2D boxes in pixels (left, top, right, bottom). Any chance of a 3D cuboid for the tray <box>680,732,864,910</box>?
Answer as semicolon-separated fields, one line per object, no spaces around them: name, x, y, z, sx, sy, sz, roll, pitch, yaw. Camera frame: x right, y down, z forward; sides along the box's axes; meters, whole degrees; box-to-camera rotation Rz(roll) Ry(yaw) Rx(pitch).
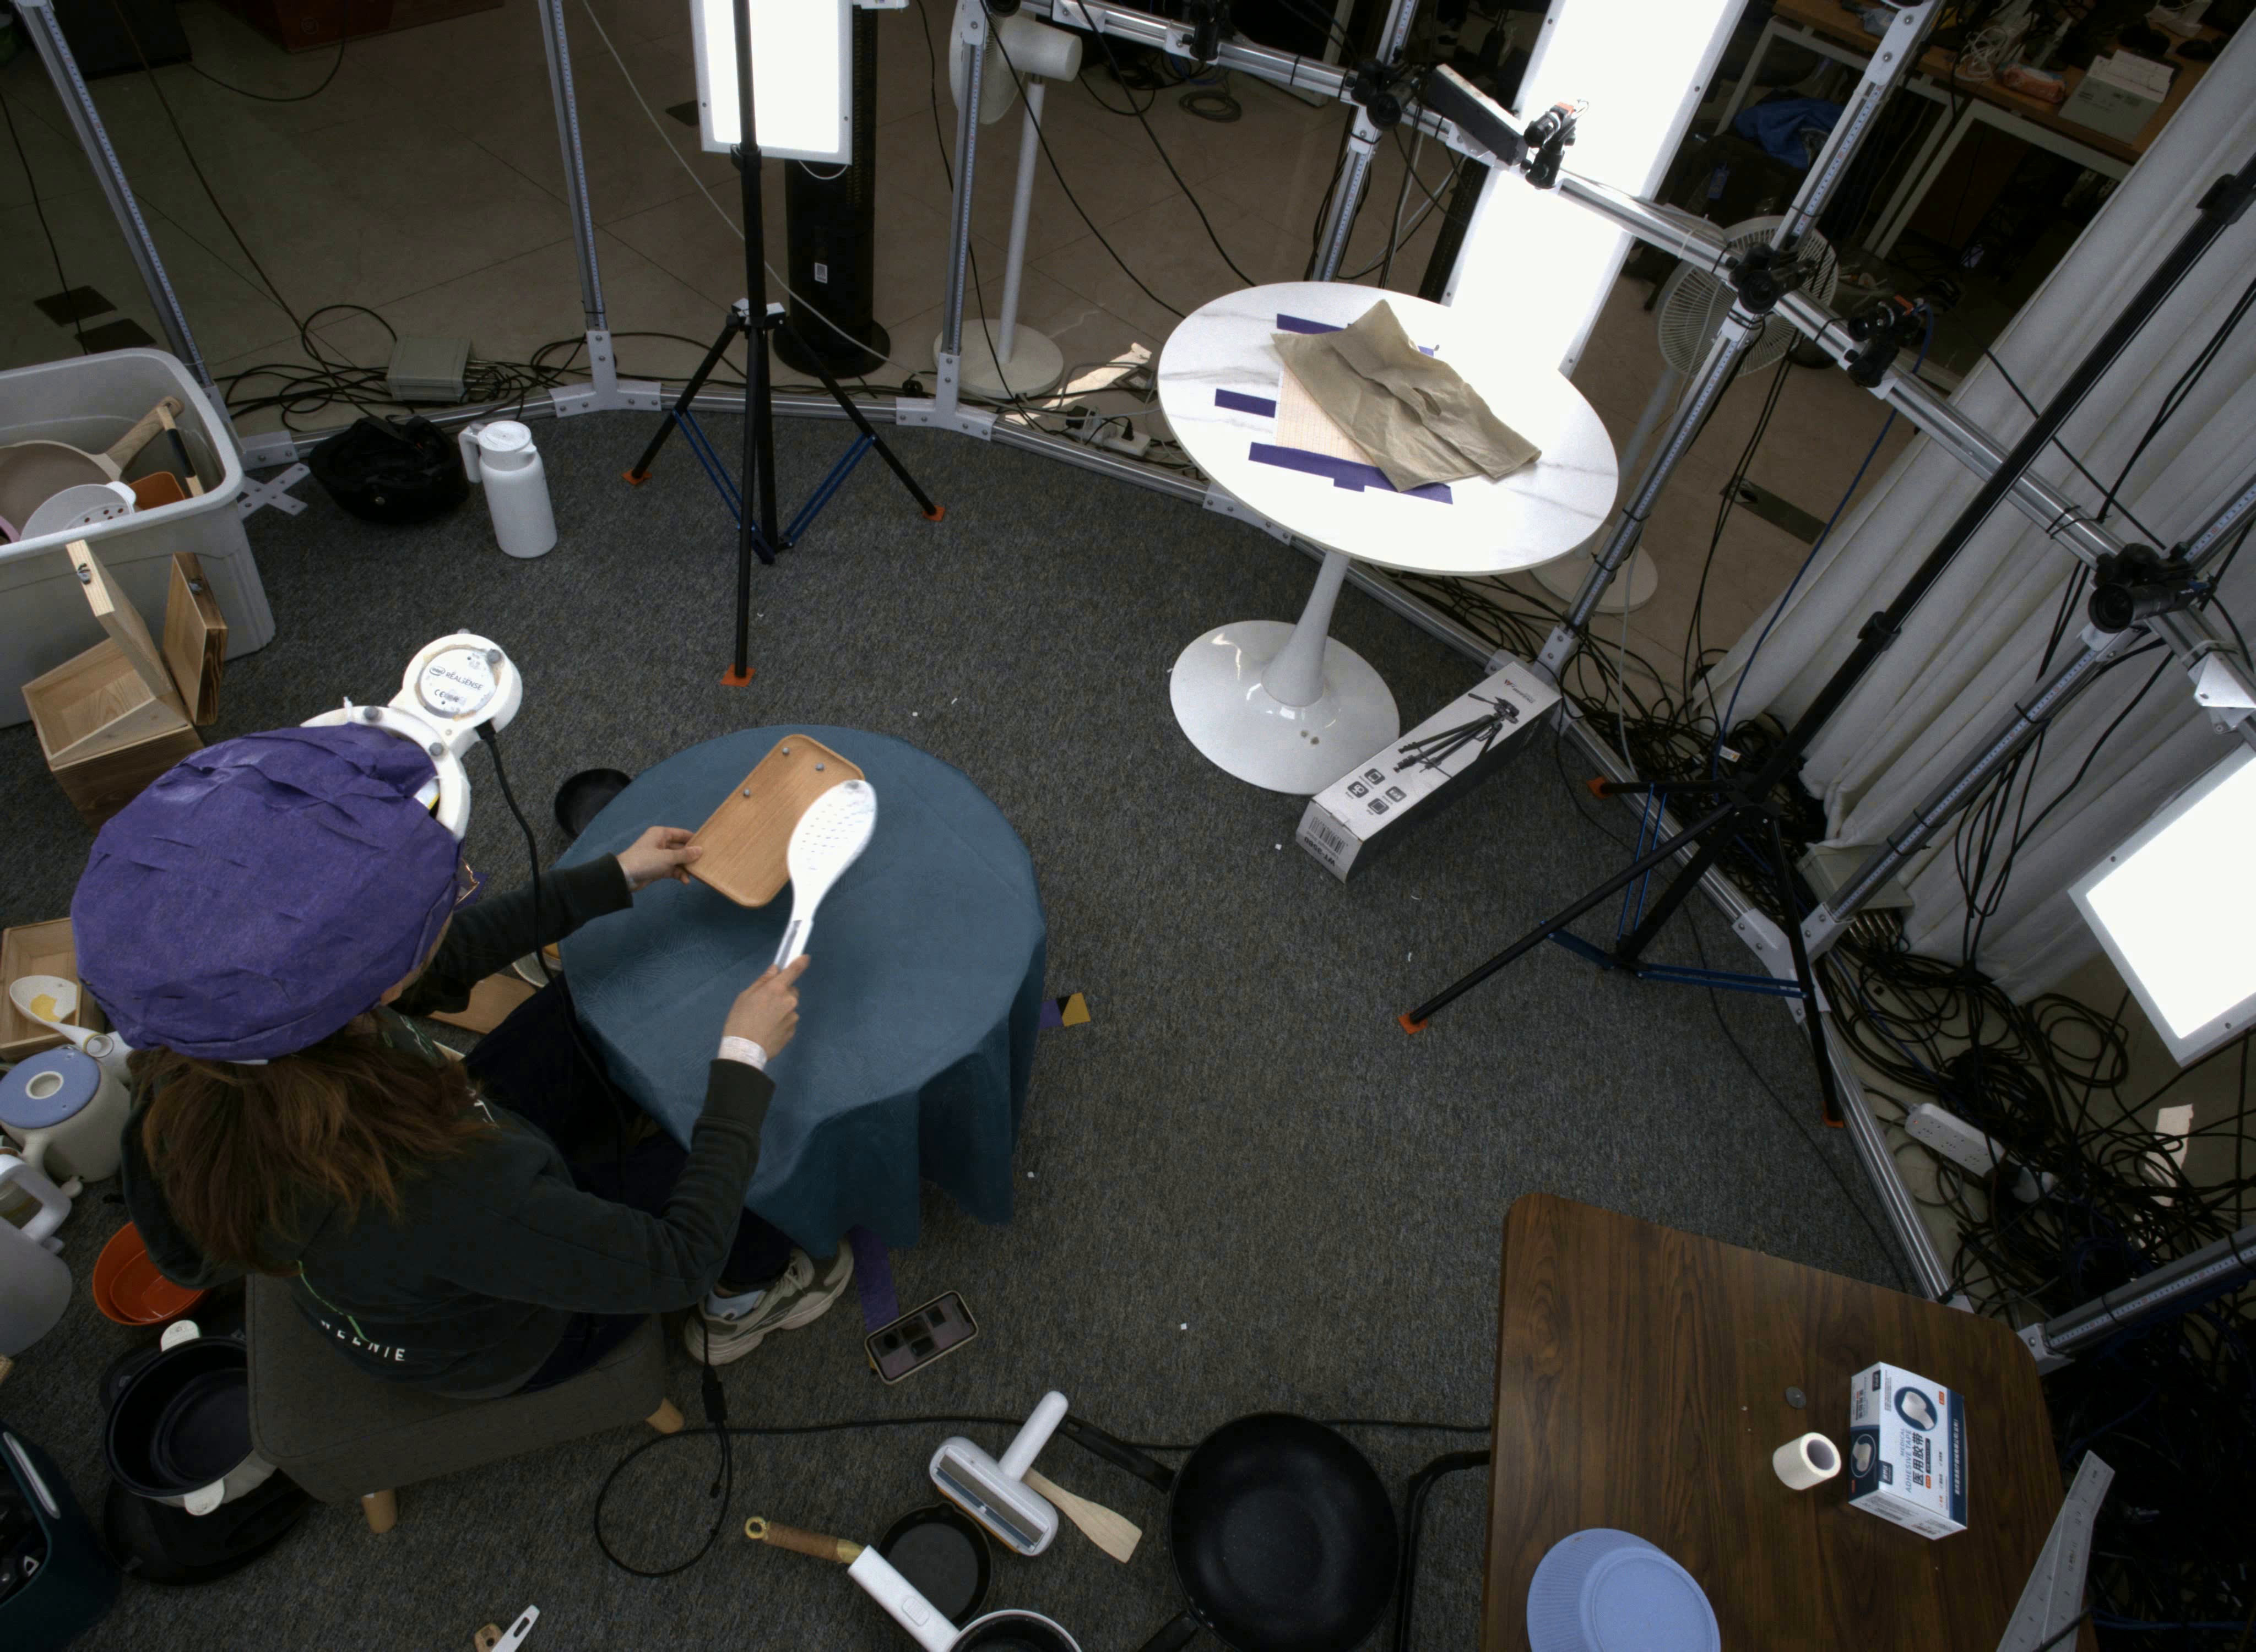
tray;-0.445;-0.010;1.626;0.129;0.023;0.249;31;56;2

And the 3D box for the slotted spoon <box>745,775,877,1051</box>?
slotted spoon;-0.366;0.092;1.482;0.047;0.132;0.346;46;48;-36
